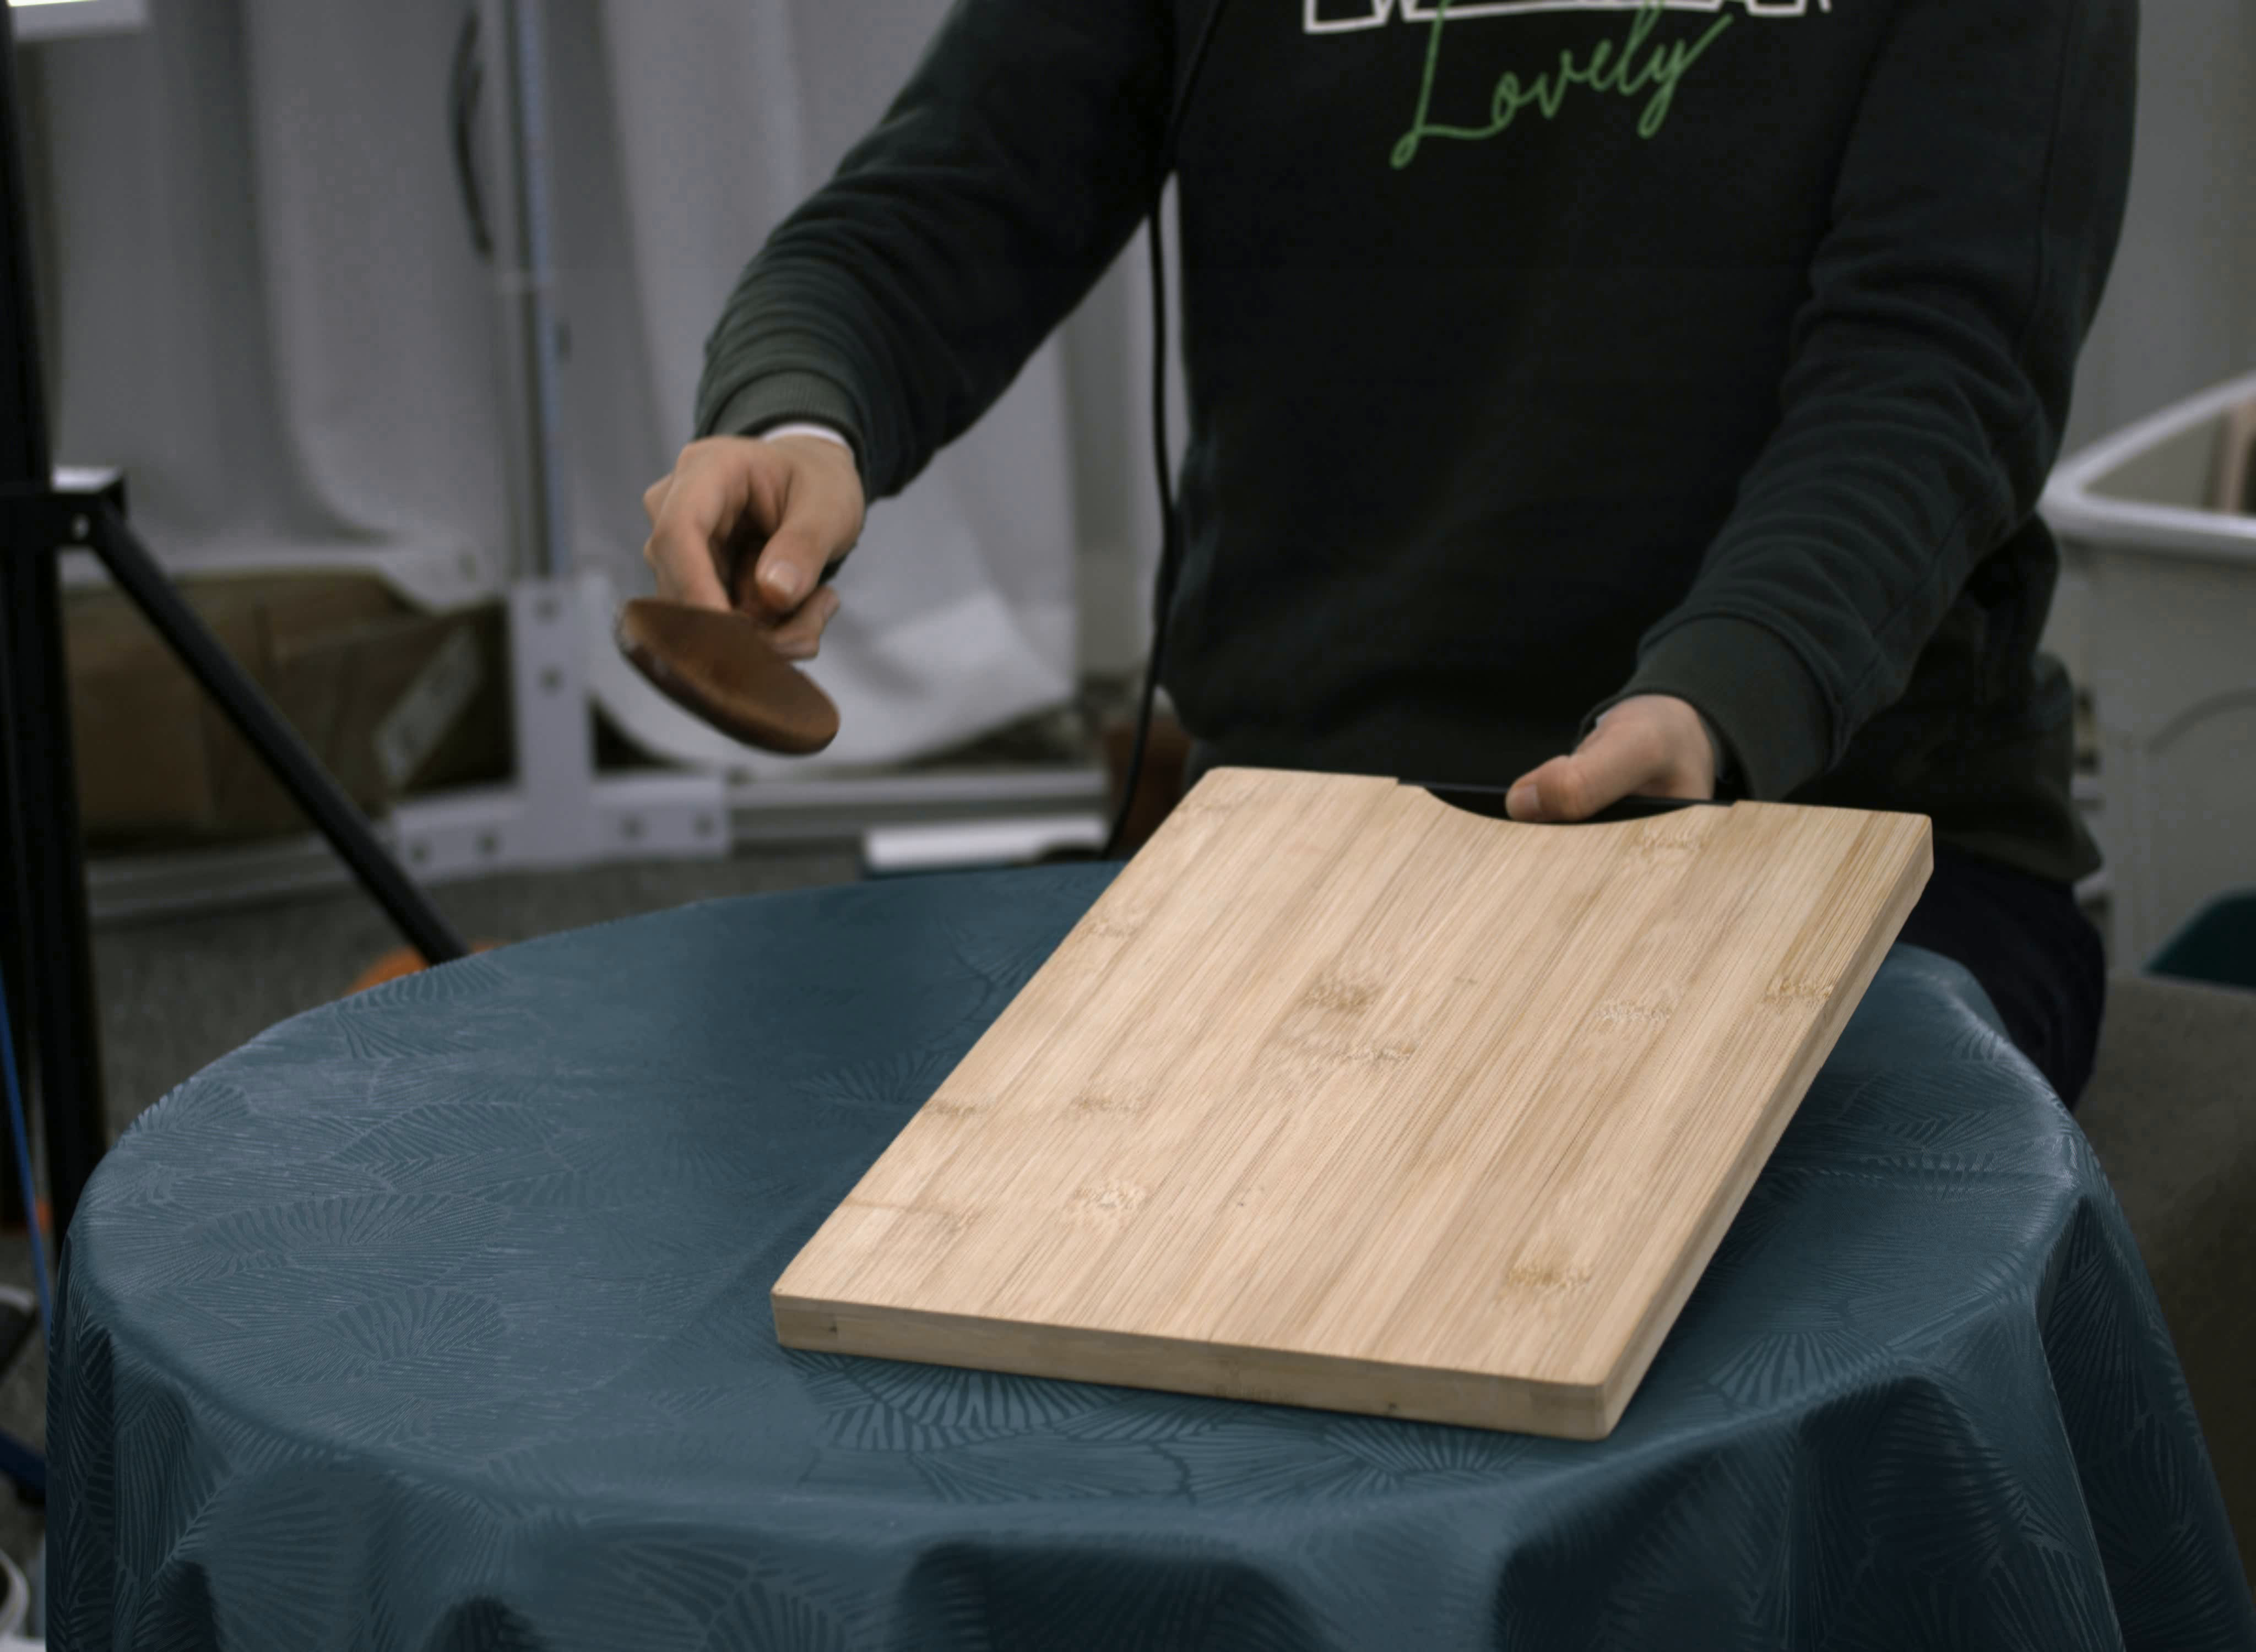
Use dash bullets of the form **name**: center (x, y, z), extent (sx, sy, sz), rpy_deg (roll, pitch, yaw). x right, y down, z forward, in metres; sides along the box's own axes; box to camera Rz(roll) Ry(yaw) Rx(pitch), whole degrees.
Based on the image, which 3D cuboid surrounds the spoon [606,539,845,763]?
- **spoon**: center (-0.117, -0.055, 1.636), extent (0.075, 0.017, 0.216), rpy_deg (26, 15, -4)

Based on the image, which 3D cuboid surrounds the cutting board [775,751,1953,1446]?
- **cutting board**: center (0.078, 0.068, 1.540), extent (0.254, 0.023, 0.345), rpy_deg (4, 28, 22)
